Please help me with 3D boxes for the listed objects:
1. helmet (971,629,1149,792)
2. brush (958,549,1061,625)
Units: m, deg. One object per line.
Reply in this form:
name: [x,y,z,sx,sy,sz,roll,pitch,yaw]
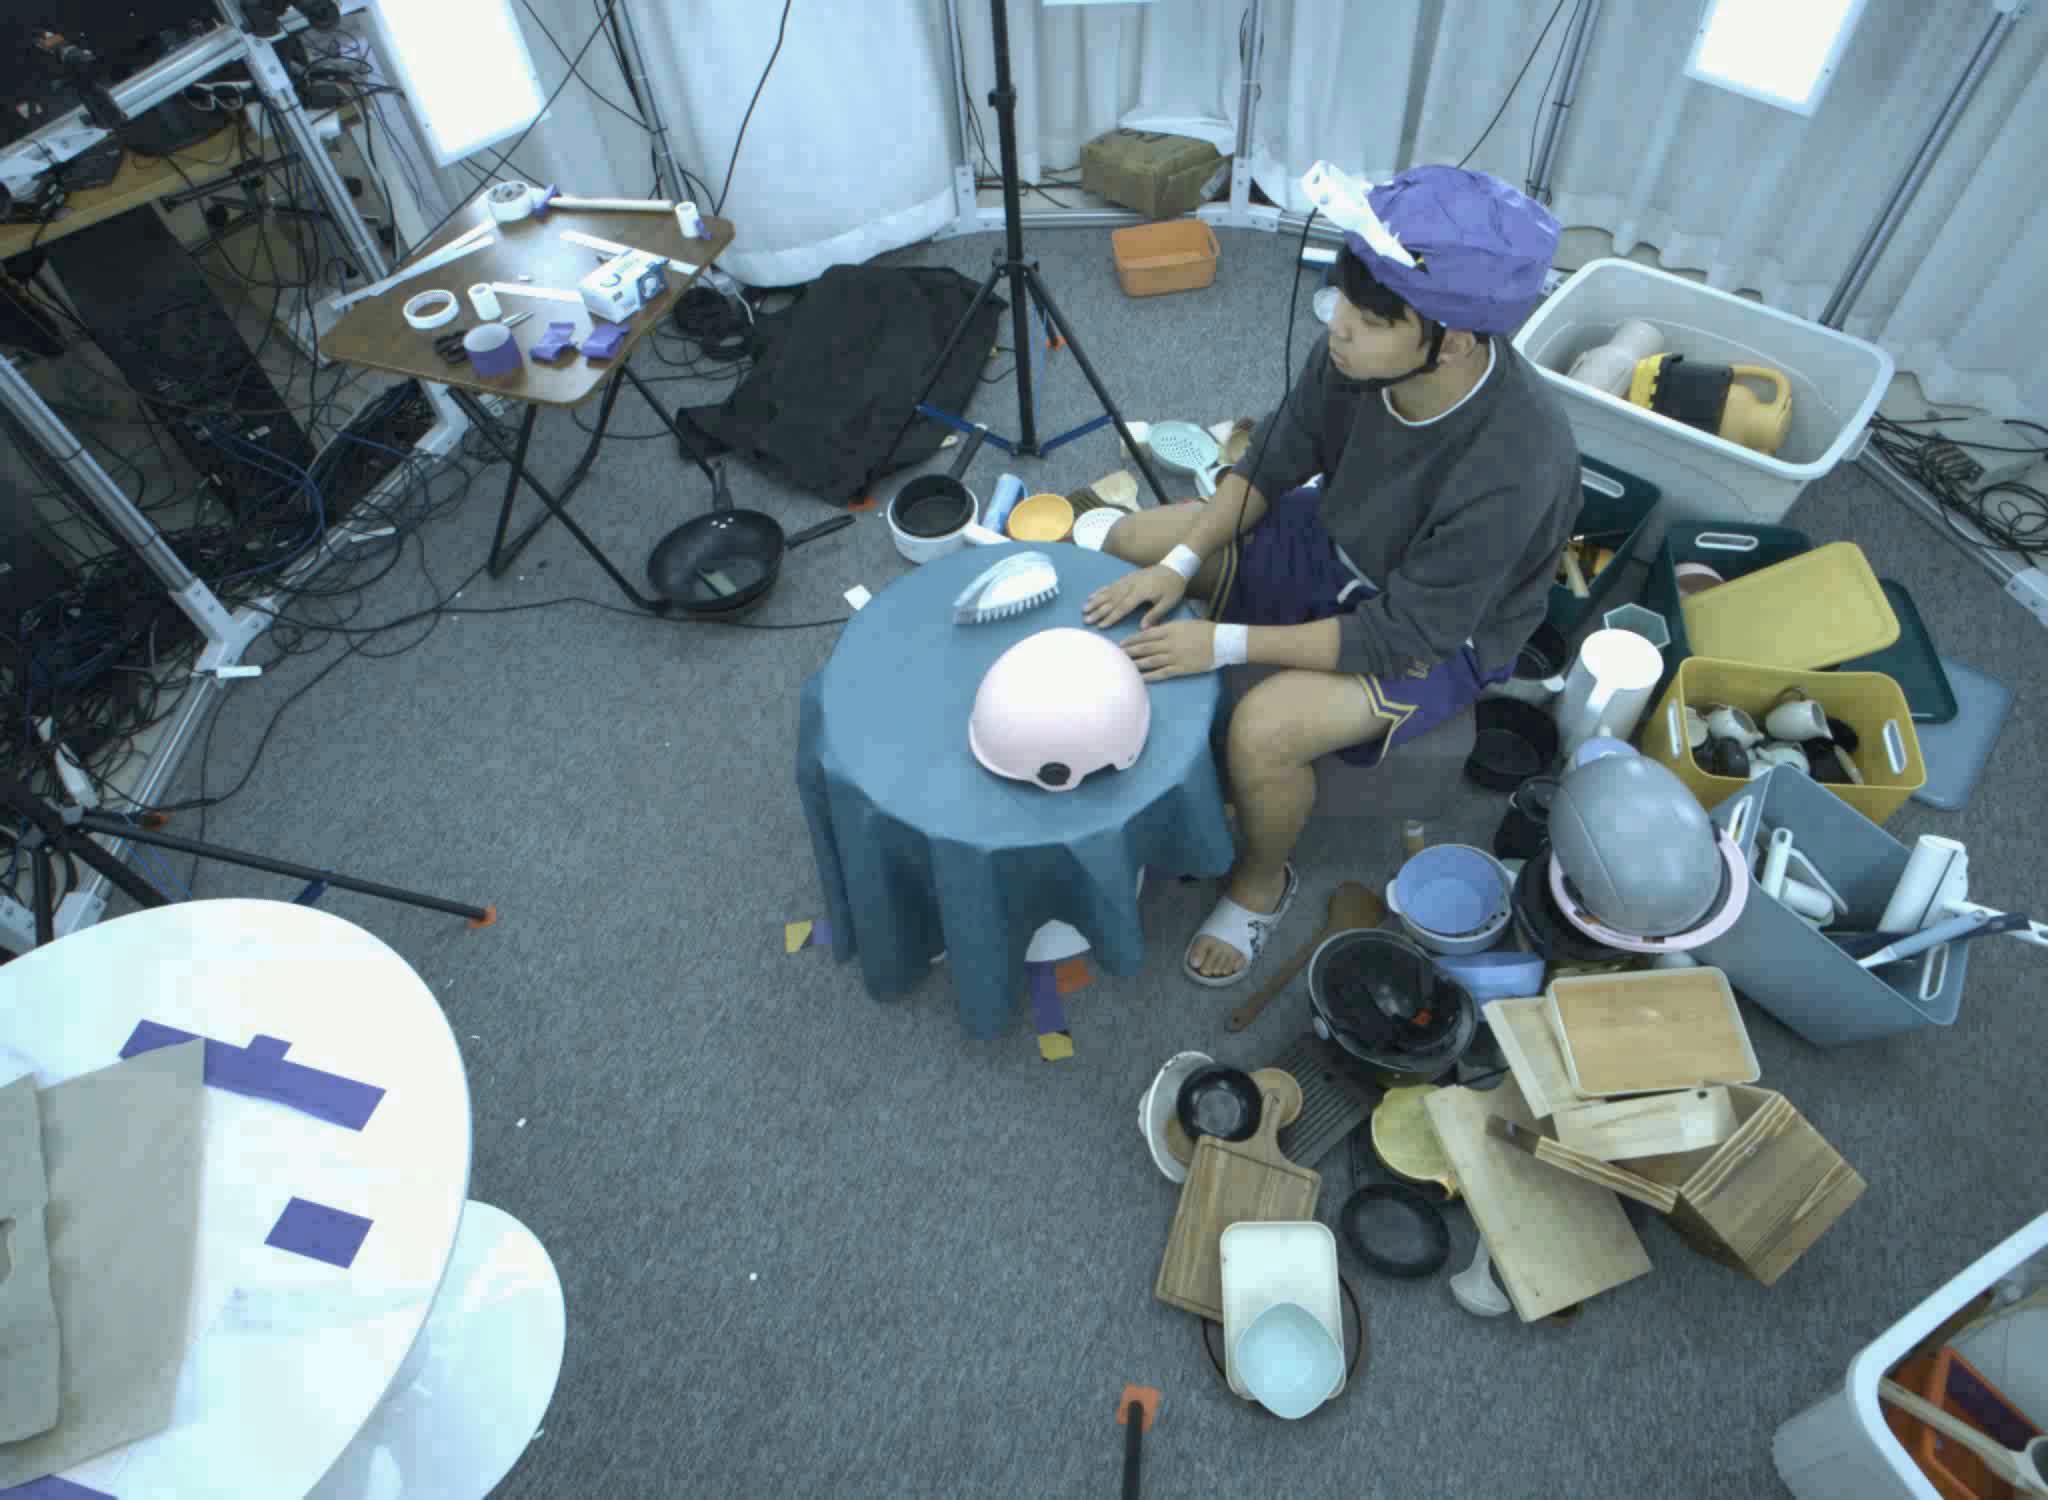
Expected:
helmet: [0.044,-0.076,1.750,0.266,0.161,0.230,-13,55,-2]
brush: [-0.031,-0.258,1.918,0.176,0.095,0.060,-25,56,-12]
